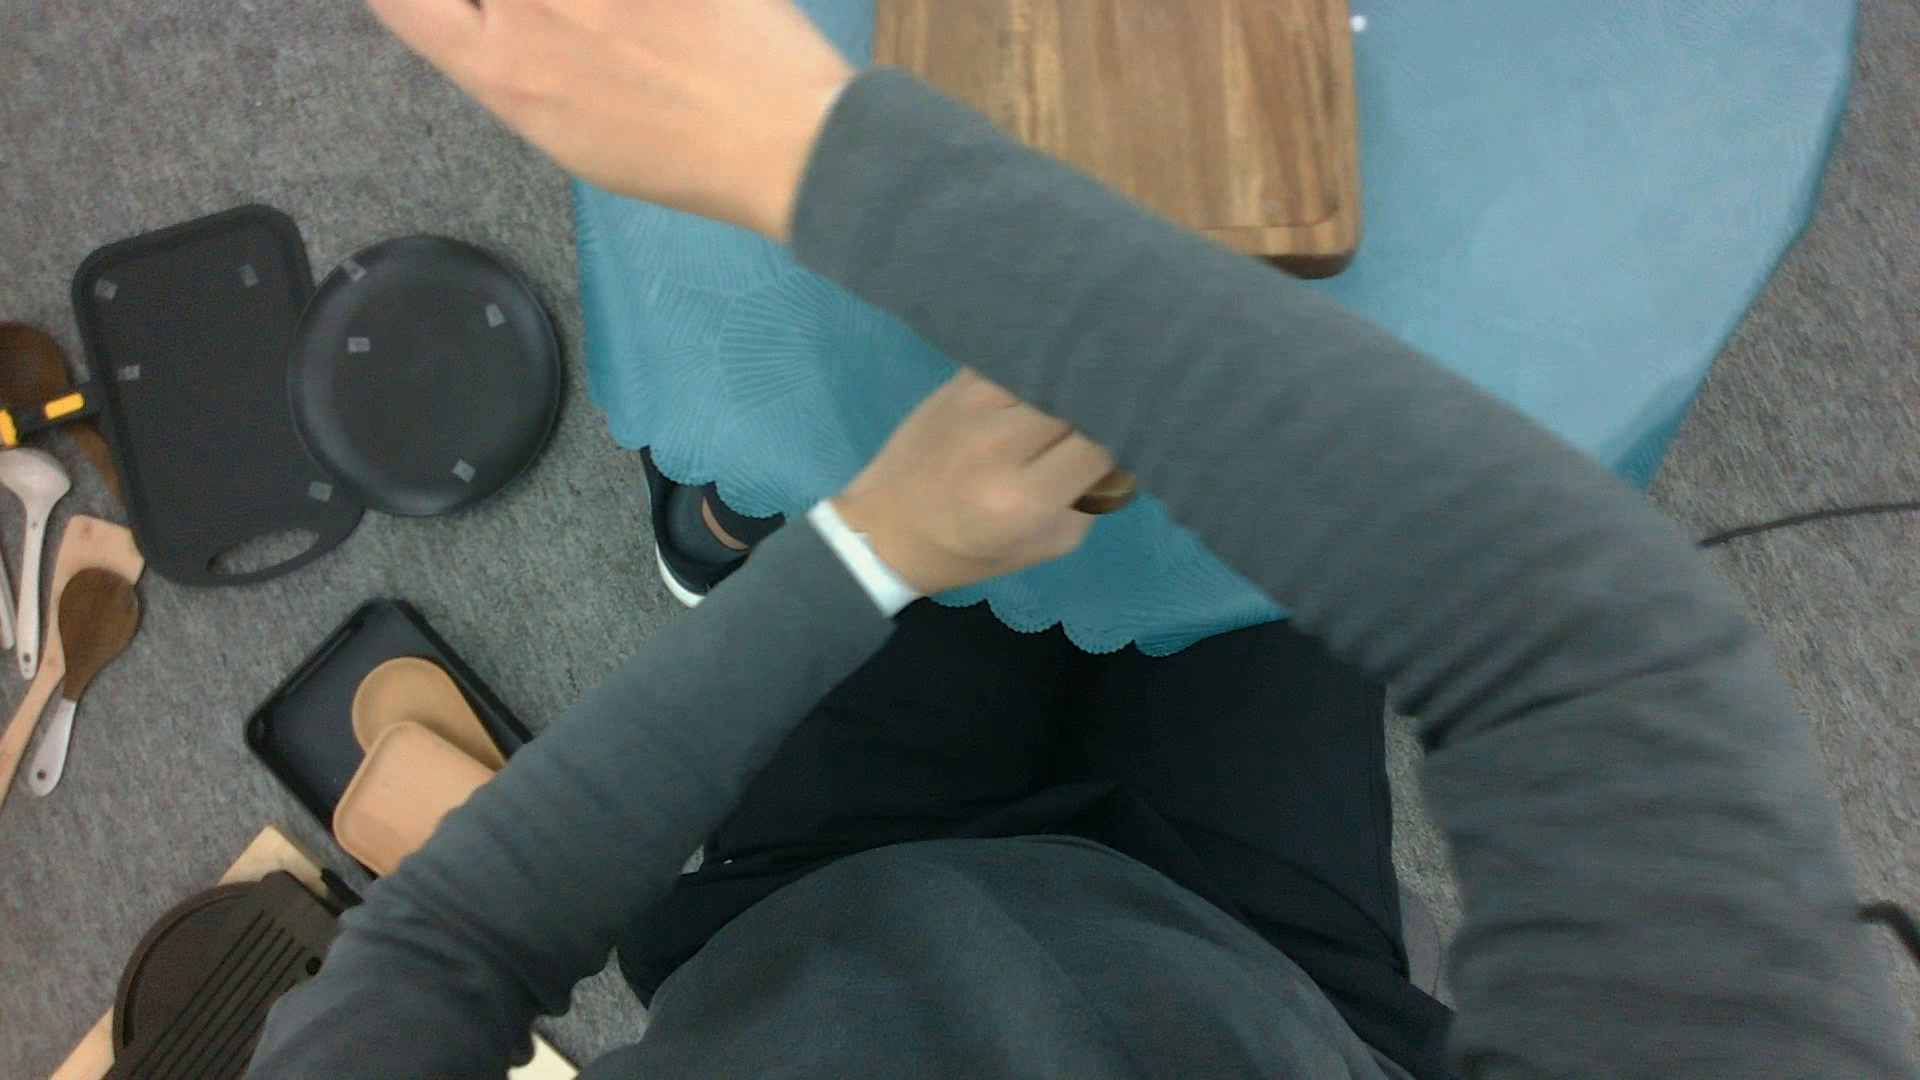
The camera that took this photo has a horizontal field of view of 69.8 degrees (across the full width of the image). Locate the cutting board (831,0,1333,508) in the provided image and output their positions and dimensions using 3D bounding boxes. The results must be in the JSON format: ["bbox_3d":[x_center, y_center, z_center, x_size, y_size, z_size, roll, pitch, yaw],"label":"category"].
[{"bbox_3d":[0.047,-0.179,0.571,0.201,0.023,0.353,0,69,3],"label":"cutting board"}]

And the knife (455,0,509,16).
[{"bbox_3d":[-0.057,-0.225,0.438,0.239,0.016,0.024,-37,84,-19],"label":"knife"}]
